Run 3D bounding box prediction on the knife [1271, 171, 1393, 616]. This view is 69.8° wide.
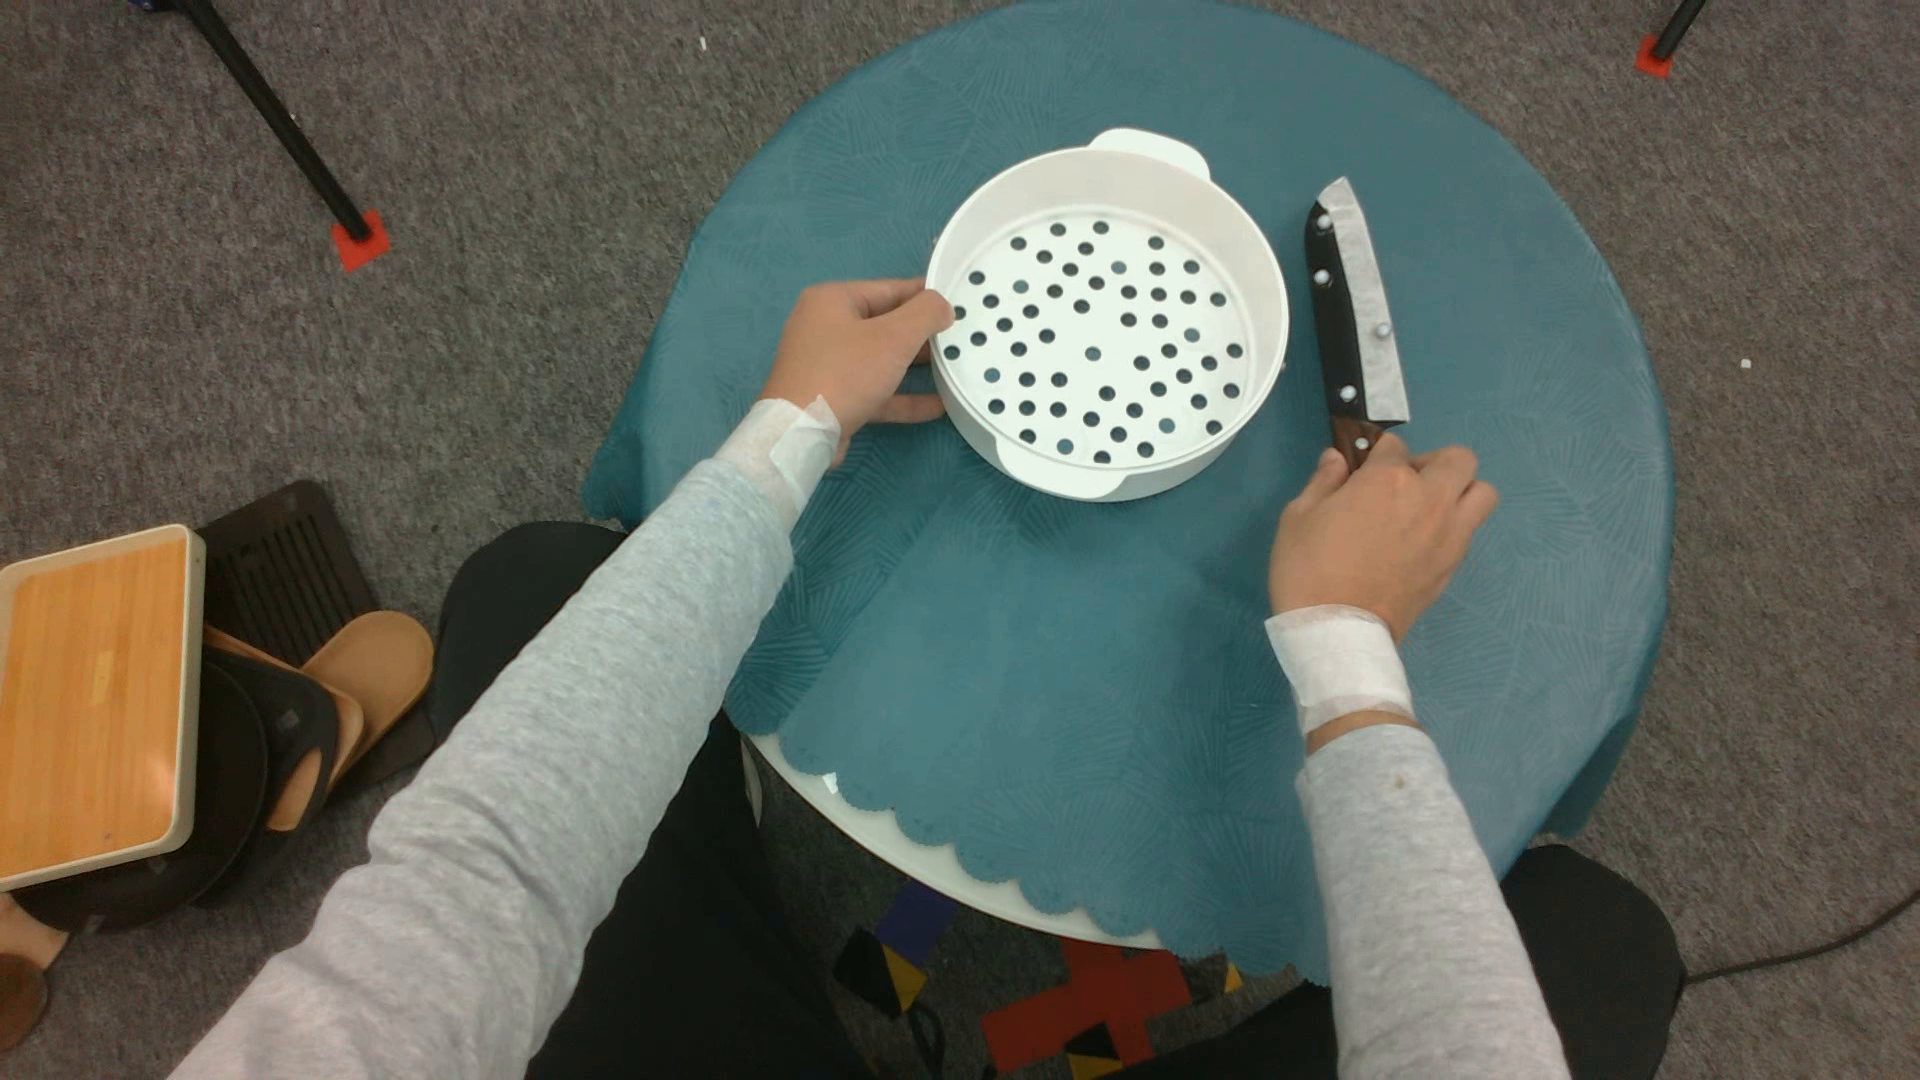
[{"bbox_3d":[0.211,-0.093,0.779,0.050,0.020,0.290,1,65,-4],"label":"knife"}]

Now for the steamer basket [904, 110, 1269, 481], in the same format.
[{"bbox_3d":[0.069,-0.132,0.785,0.202,0.069,0.231,16,71,3],"label":"steamer basket"}]
